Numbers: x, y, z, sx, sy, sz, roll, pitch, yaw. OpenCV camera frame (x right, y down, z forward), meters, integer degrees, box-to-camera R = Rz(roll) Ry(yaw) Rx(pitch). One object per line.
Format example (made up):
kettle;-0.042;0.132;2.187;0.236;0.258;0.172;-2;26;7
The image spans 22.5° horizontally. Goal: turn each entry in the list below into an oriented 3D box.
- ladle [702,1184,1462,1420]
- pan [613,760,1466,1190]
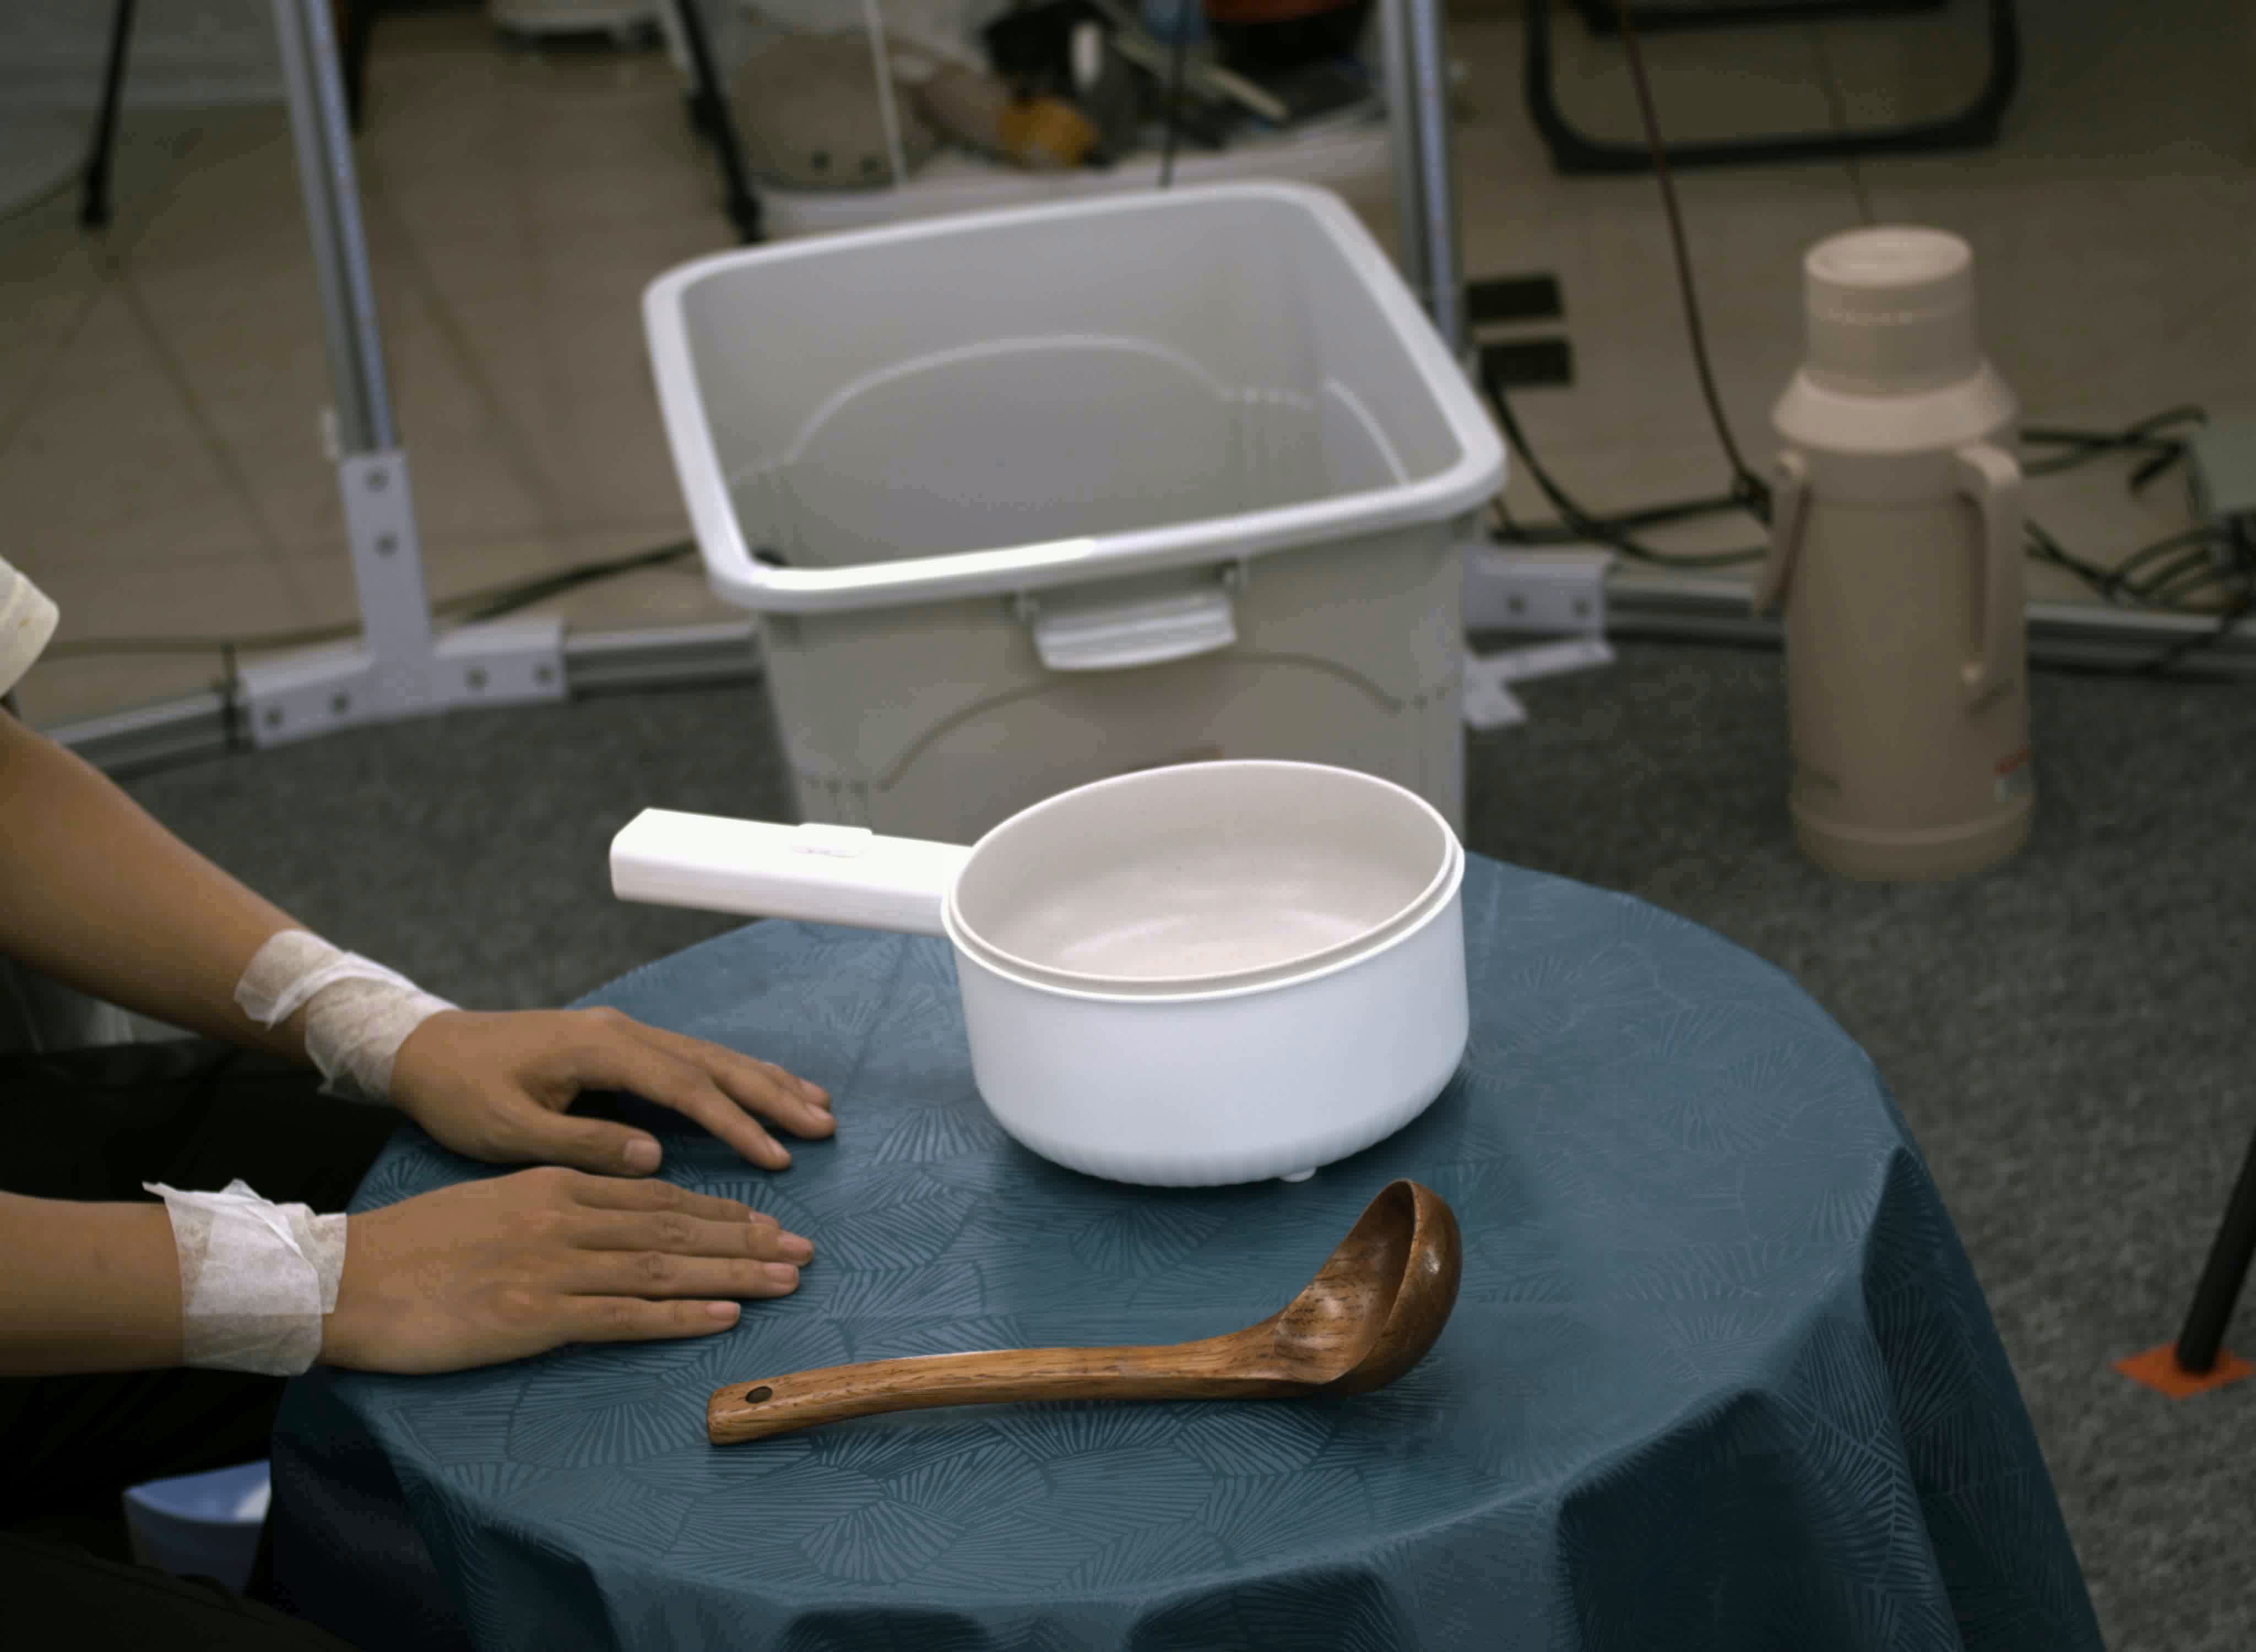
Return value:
ladle;-0.019;0.170;1.994;0.273;0.078;0.080;-2;28;6
pan;-0.037;0.055;2.223;0.353;0.104;0.198;5;29;25
